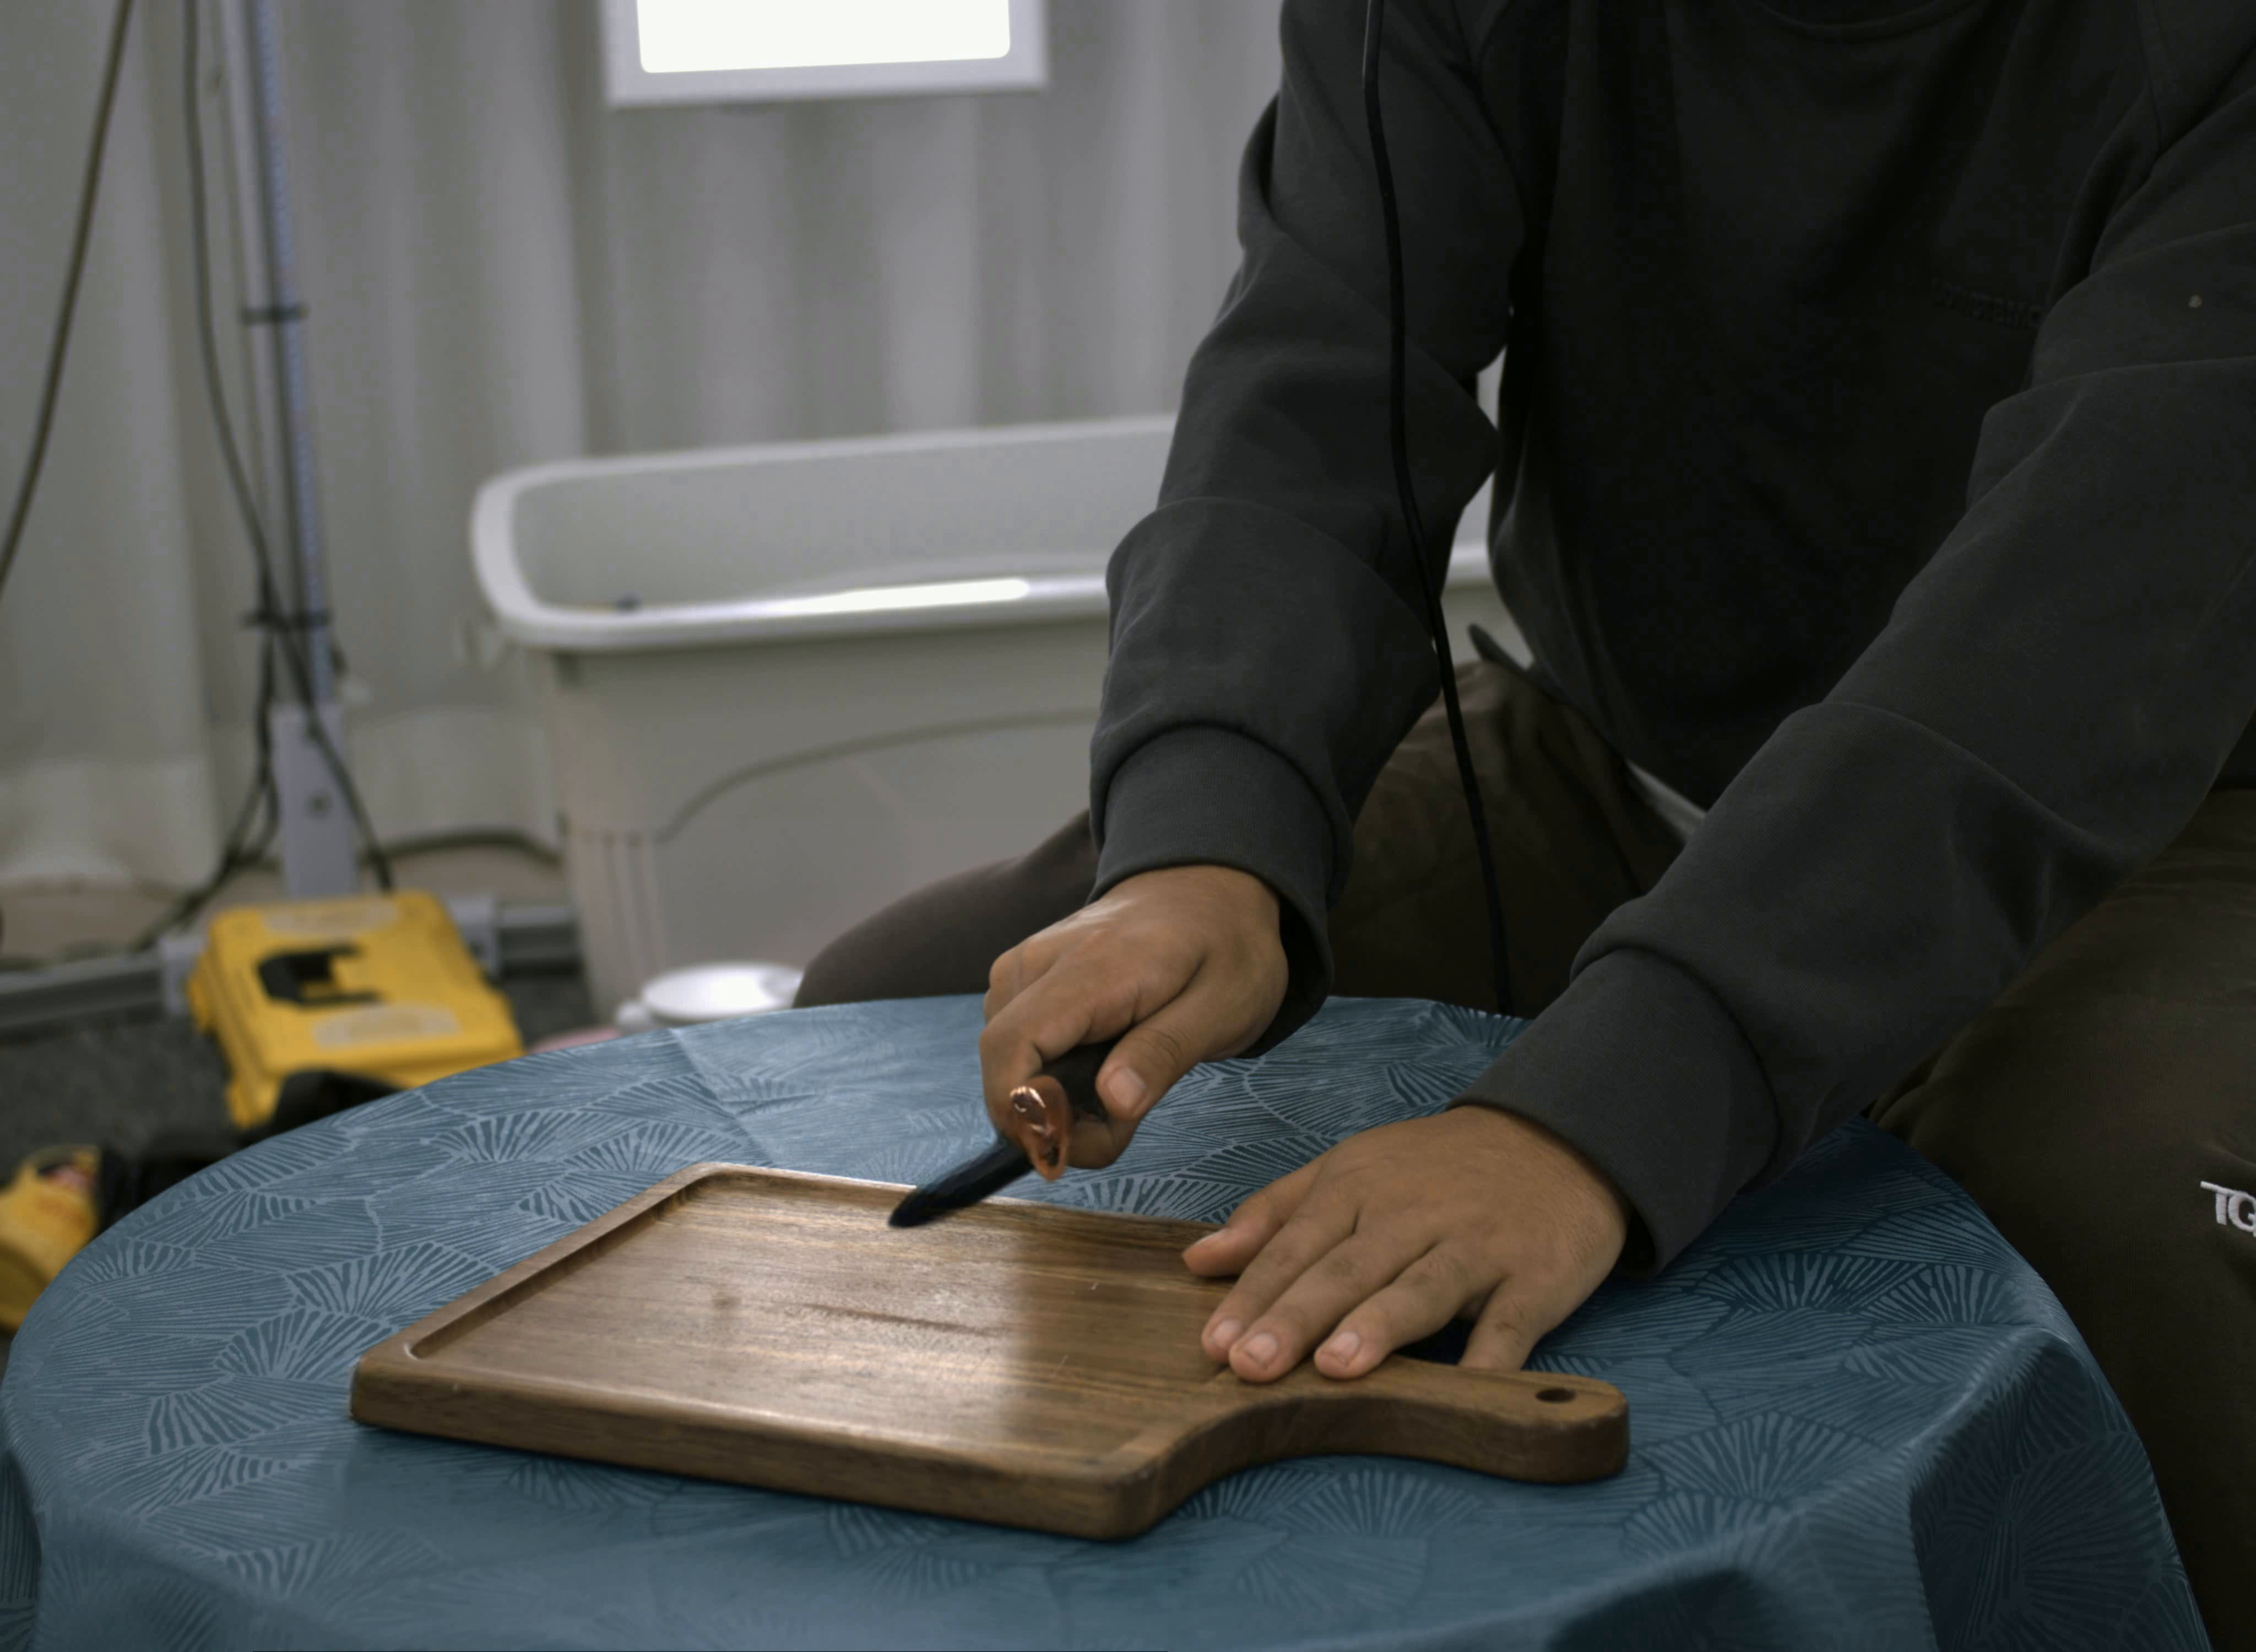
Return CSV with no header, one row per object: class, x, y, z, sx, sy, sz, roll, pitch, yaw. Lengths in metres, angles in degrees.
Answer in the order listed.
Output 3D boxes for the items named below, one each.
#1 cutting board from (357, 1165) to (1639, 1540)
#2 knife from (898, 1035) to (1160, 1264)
cutting board,-0.022,0.150,1.546,0.353,0.023,0.201,5,17,26
knife,-0.029,0.091,1.582,0.017,0.026,0.226,-13,6,19
